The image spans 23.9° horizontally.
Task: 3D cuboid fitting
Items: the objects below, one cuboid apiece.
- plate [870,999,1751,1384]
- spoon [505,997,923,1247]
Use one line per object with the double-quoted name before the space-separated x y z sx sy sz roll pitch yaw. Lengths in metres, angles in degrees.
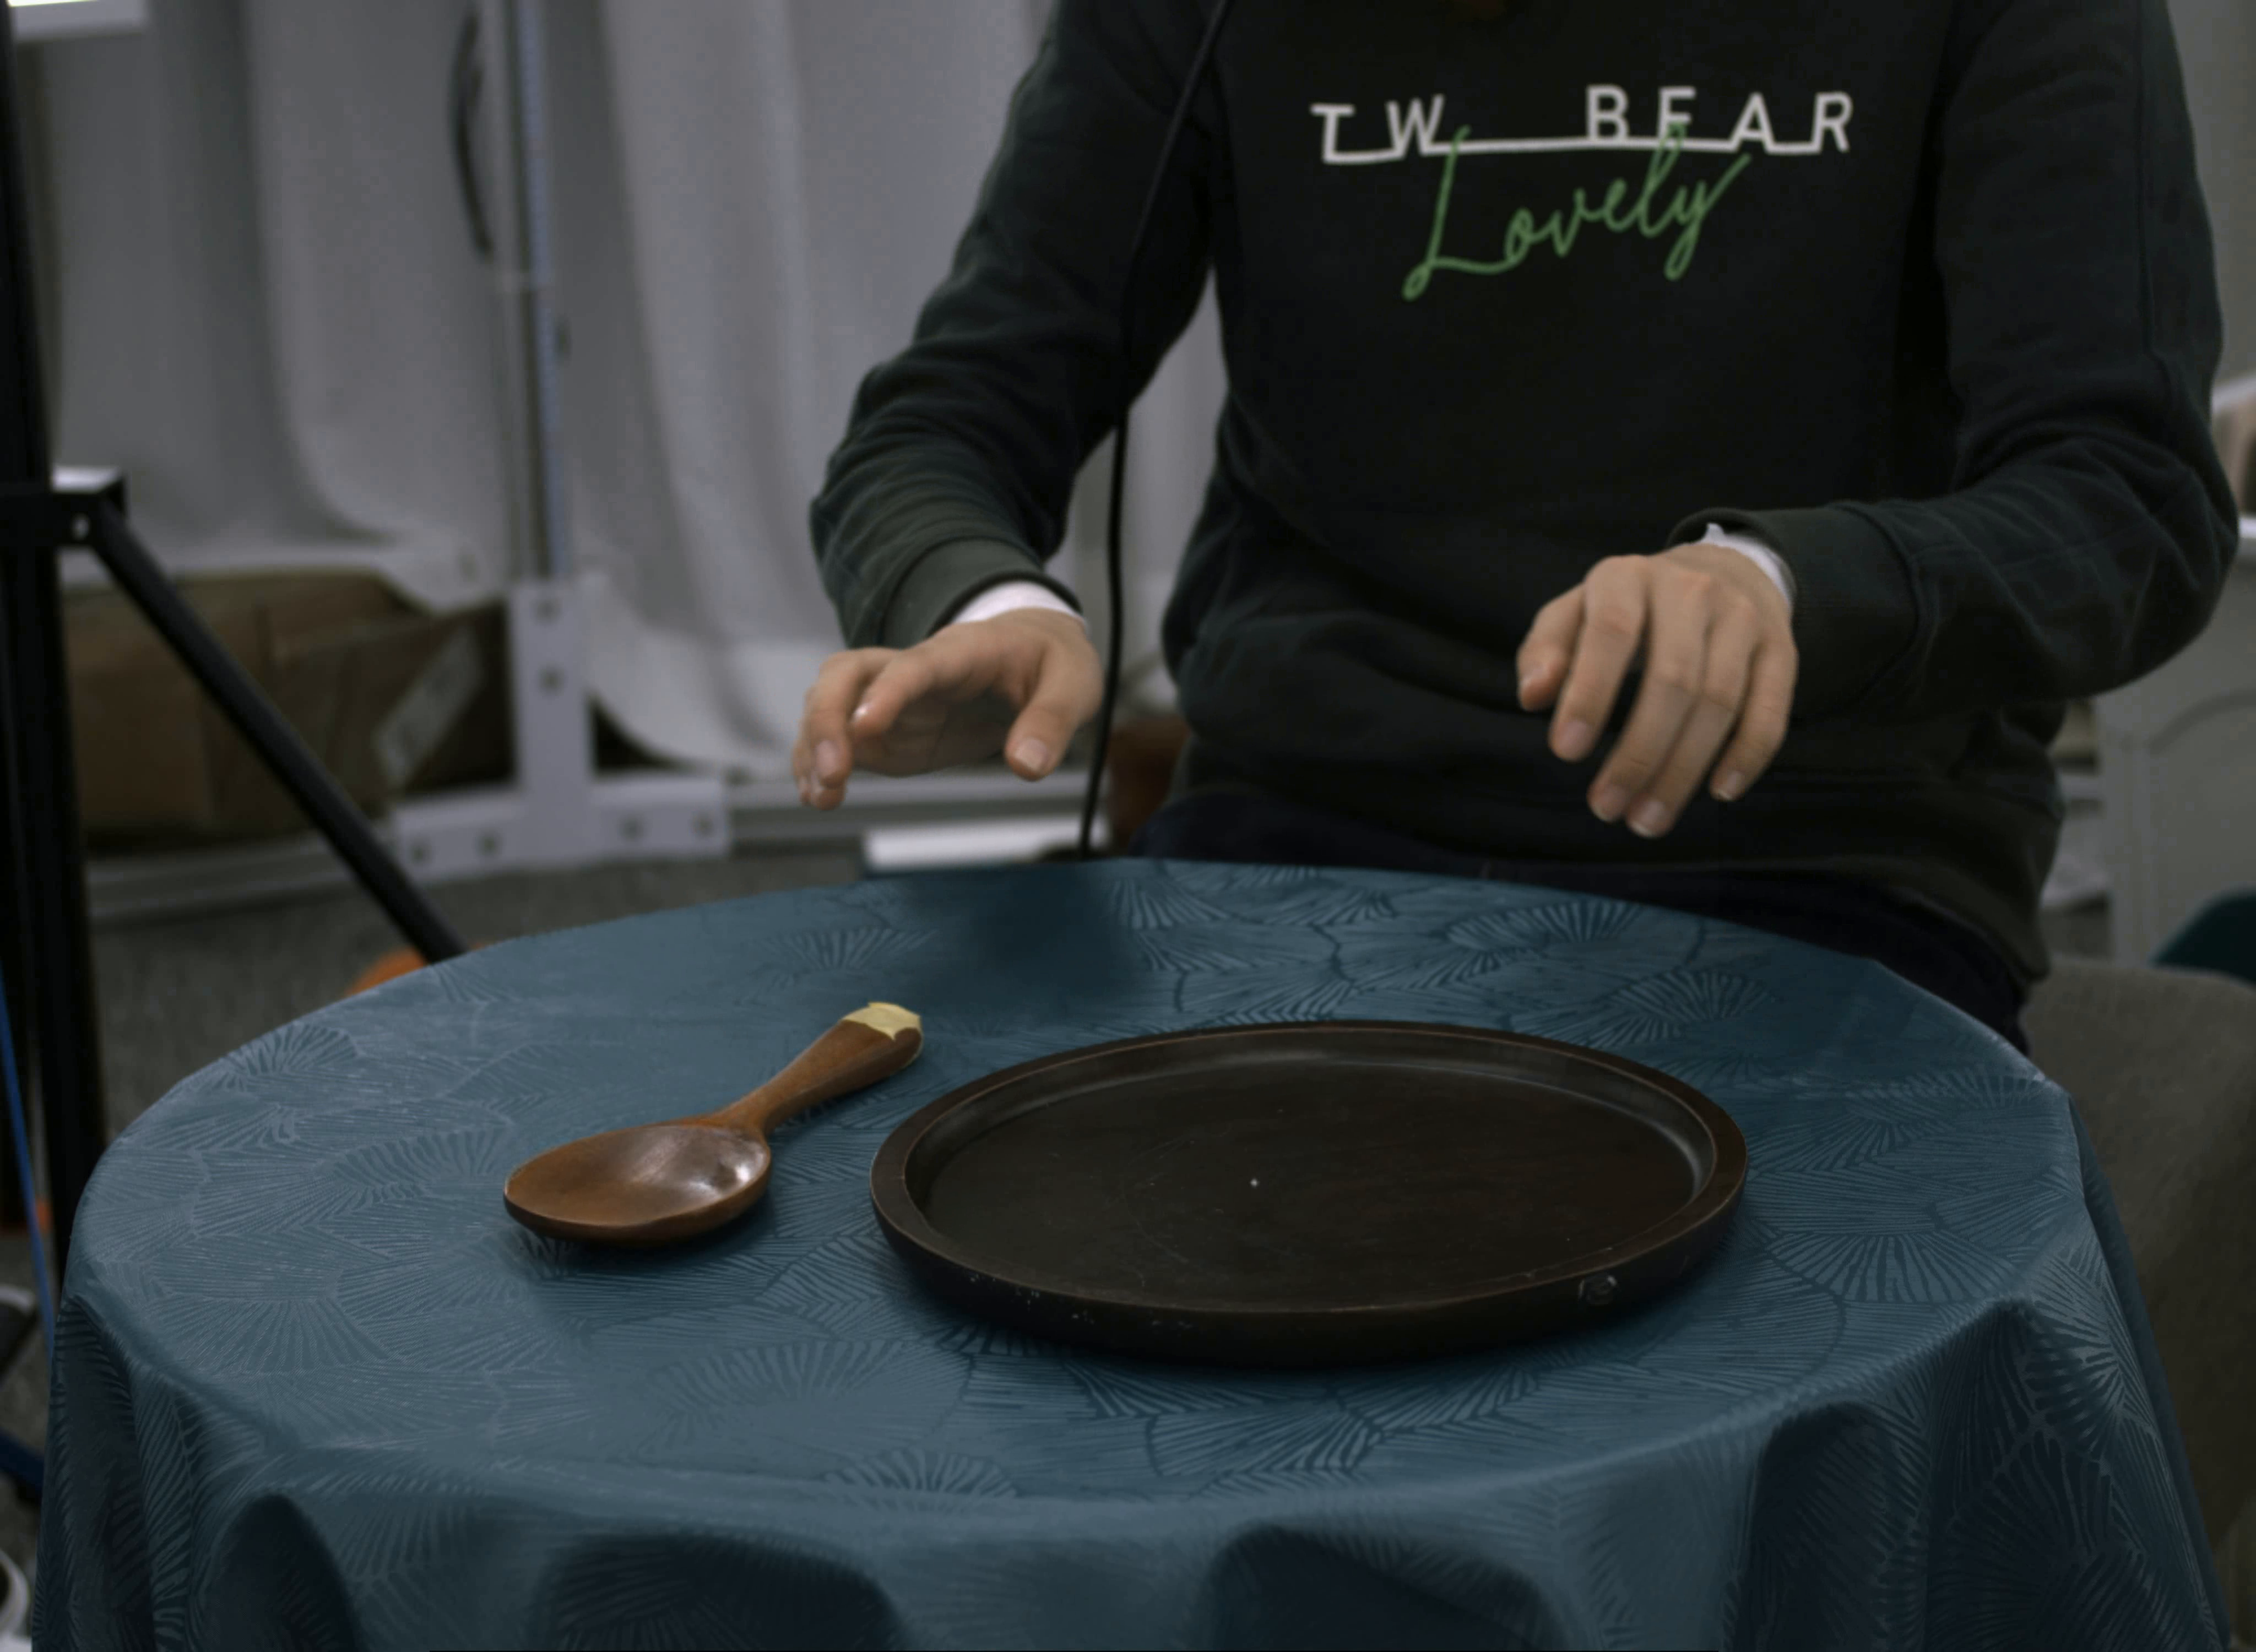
"plate" 0.052 0.105 1.520 0.253 0.029 0.256 -3 17 -1
"spoon" -0.115 0.090 1.608 0.076 0.017 0.213 4 17 24
